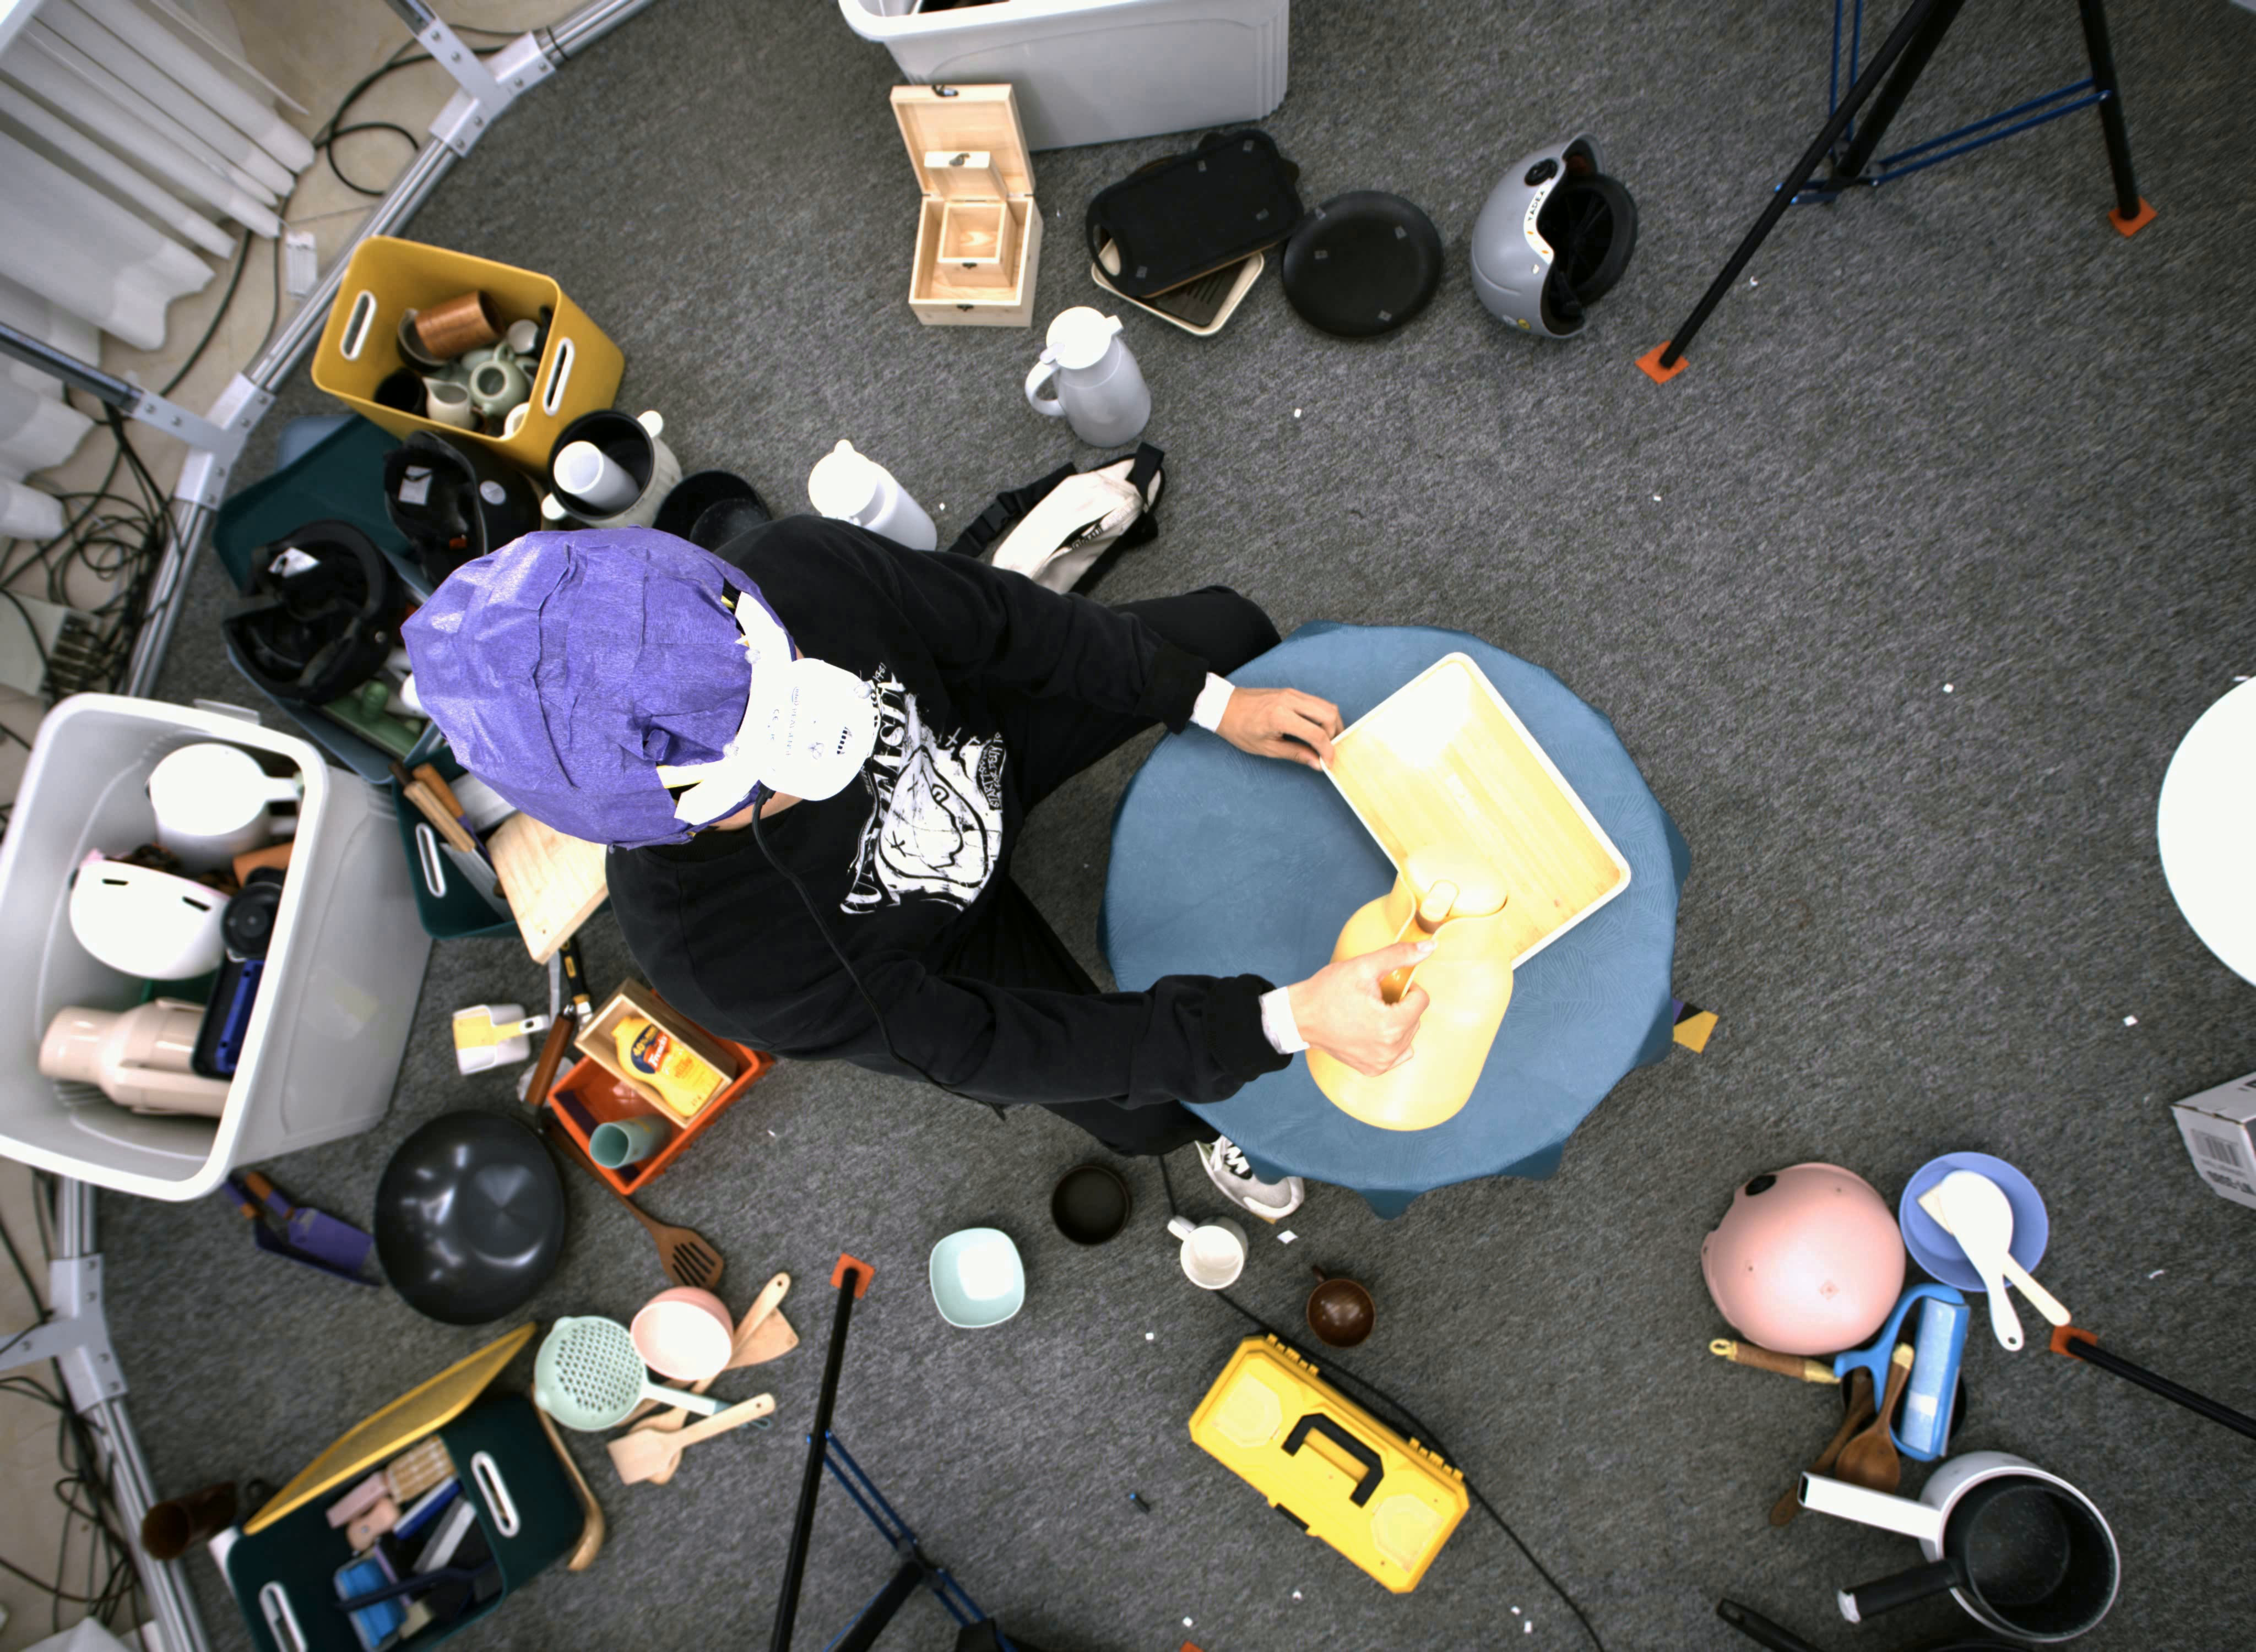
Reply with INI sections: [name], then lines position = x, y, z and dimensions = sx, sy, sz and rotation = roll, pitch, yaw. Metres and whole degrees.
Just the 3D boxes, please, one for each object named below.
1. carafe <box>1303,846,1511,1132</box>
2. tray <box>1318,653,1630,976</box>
[carafe]
position = 0.248, 0.148, 1.233
dimensions = 0.163, 0.198, 0.267
rotation = 28, 130, 23
[tray]
position = 0.355, -0.011, 1.419
dimensions = 0.192, 0.027, 0.299
rotation = -37, 87, 6
